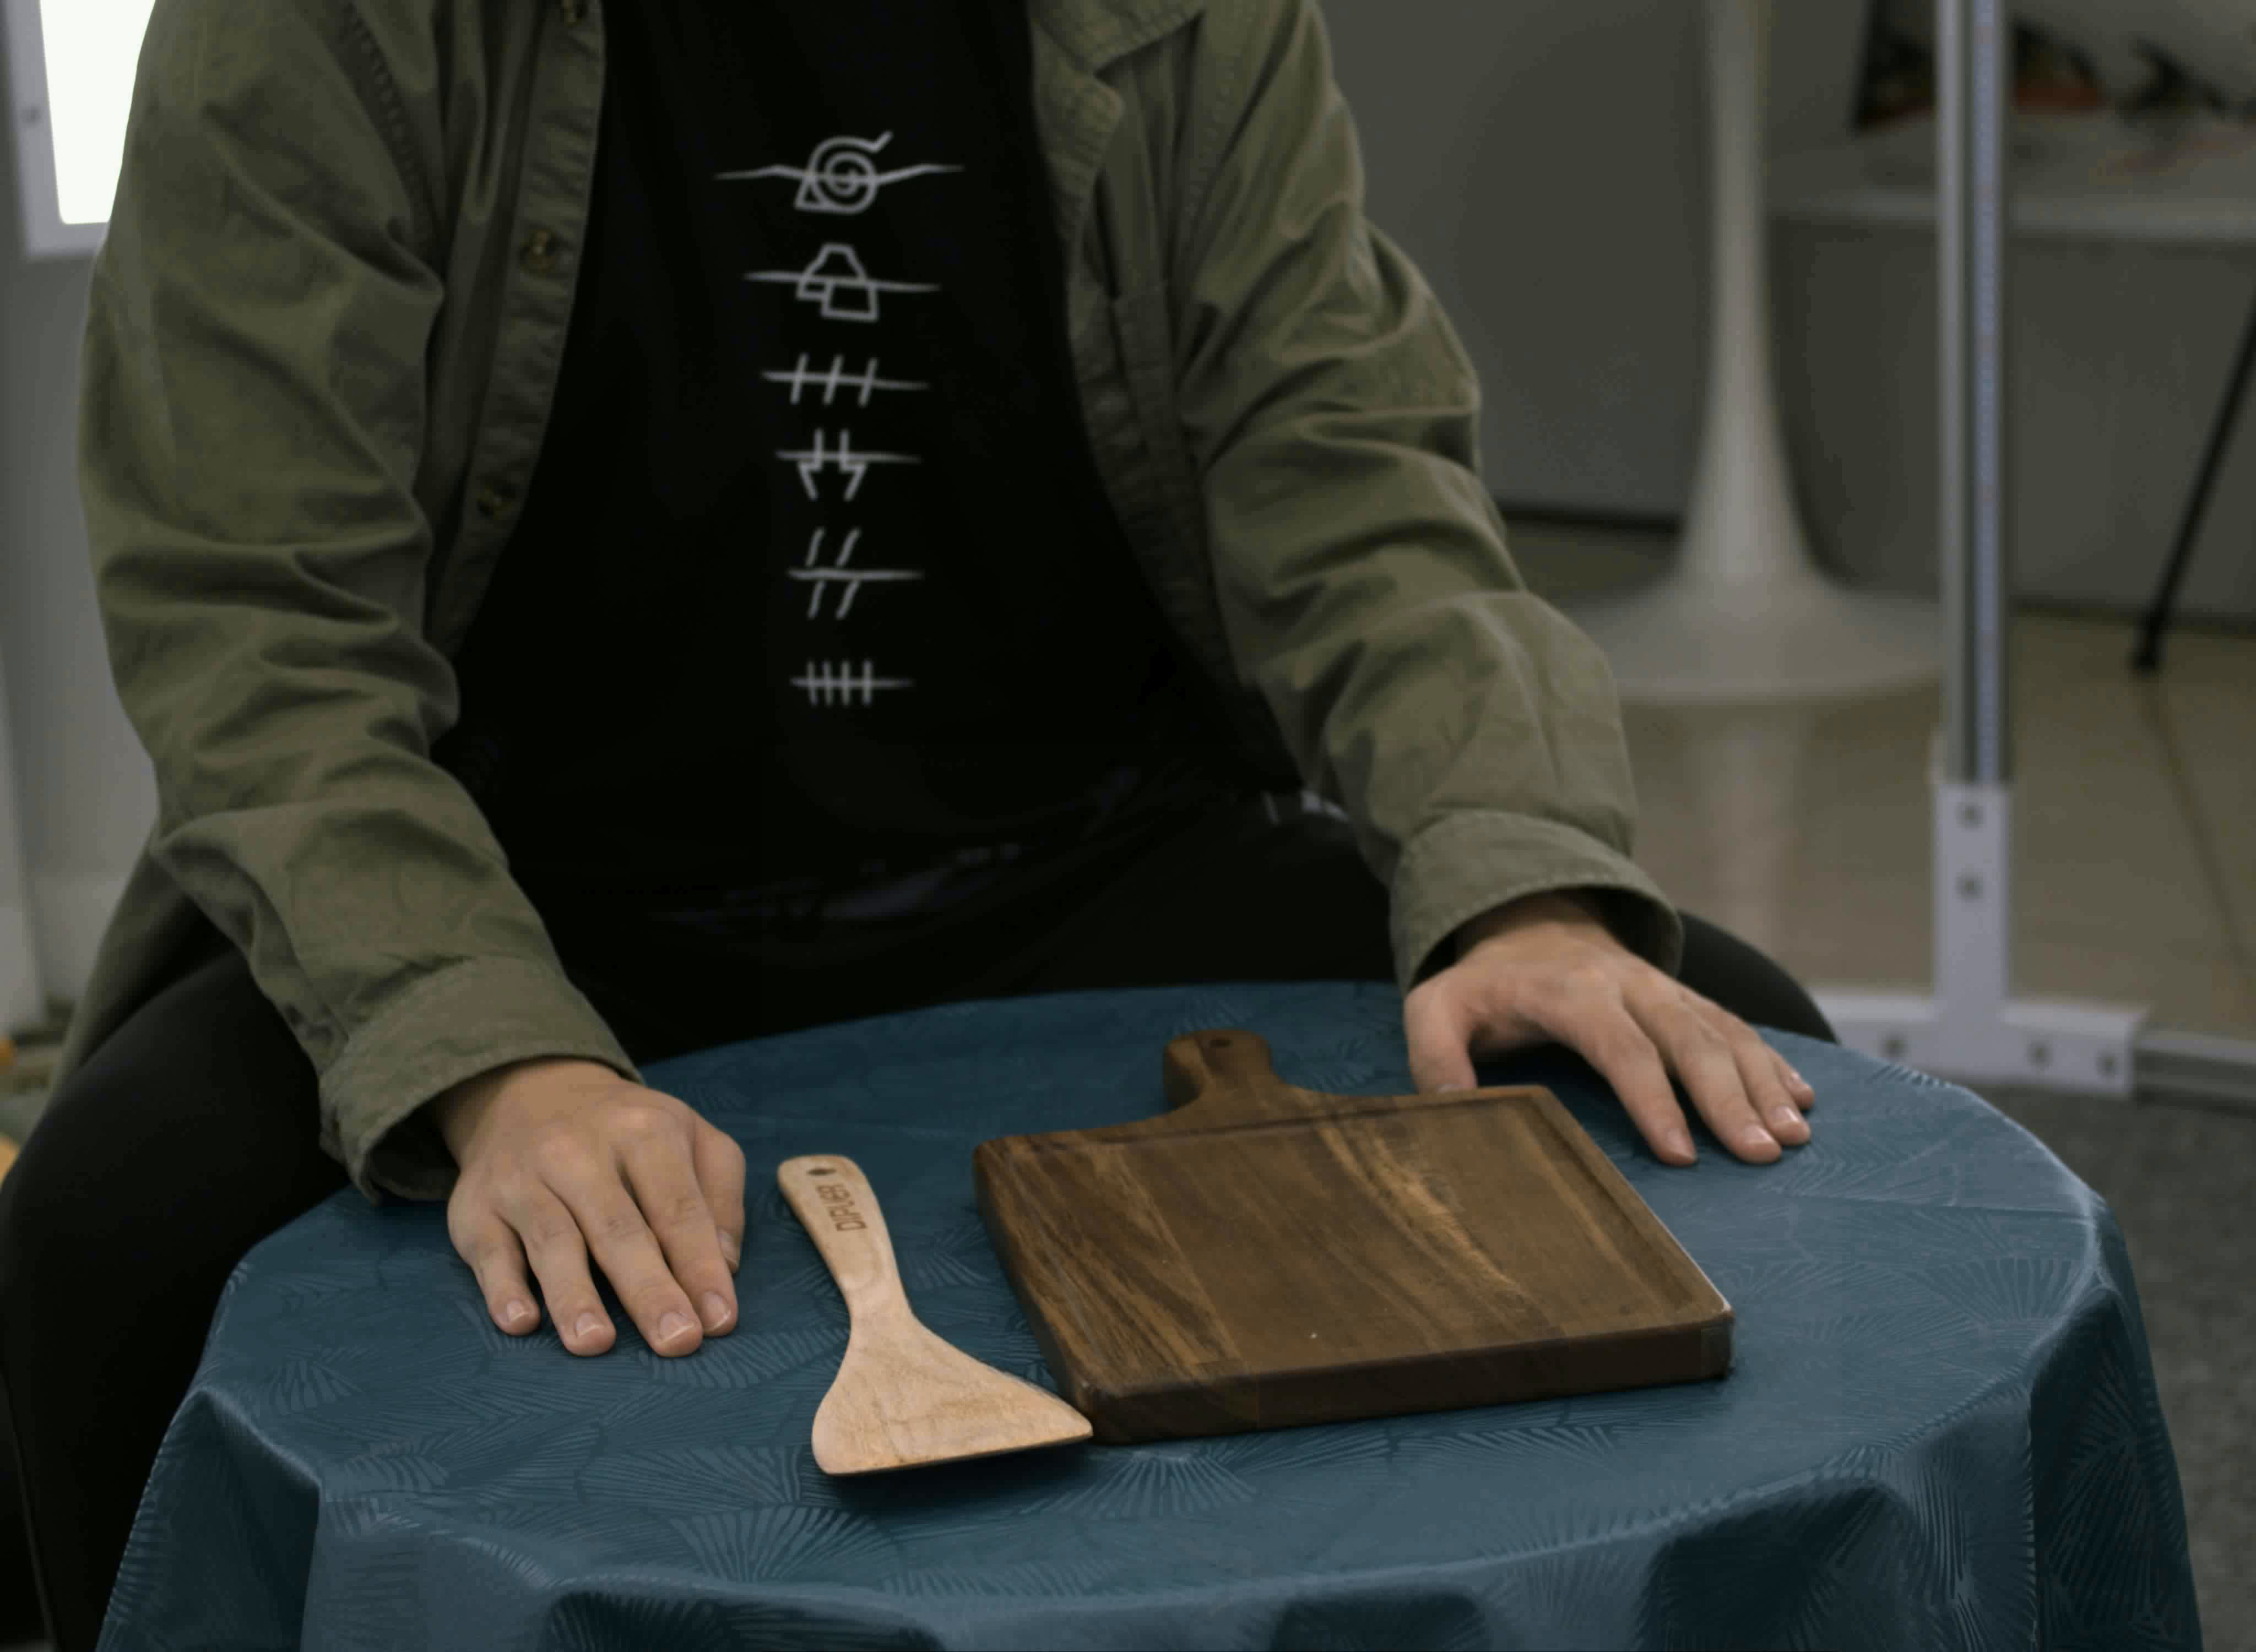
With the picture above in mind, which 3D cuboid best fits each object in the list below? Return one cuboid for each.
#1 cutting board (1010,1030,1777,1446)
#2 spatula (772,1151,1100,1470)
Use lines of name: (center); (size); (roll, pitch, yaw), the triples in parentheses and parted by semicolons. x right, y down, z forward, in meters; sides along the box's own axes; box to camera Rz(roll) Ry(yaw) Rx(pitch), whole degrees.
cutting board: (0.068, 0.120, 1.709); (0.198, 0.023, 0.354); (-5, 14, -6)
spatula: (-0.074, 0.144, 1.660); (0.078, 0.017, 0.329); (-6, 14, -10)
